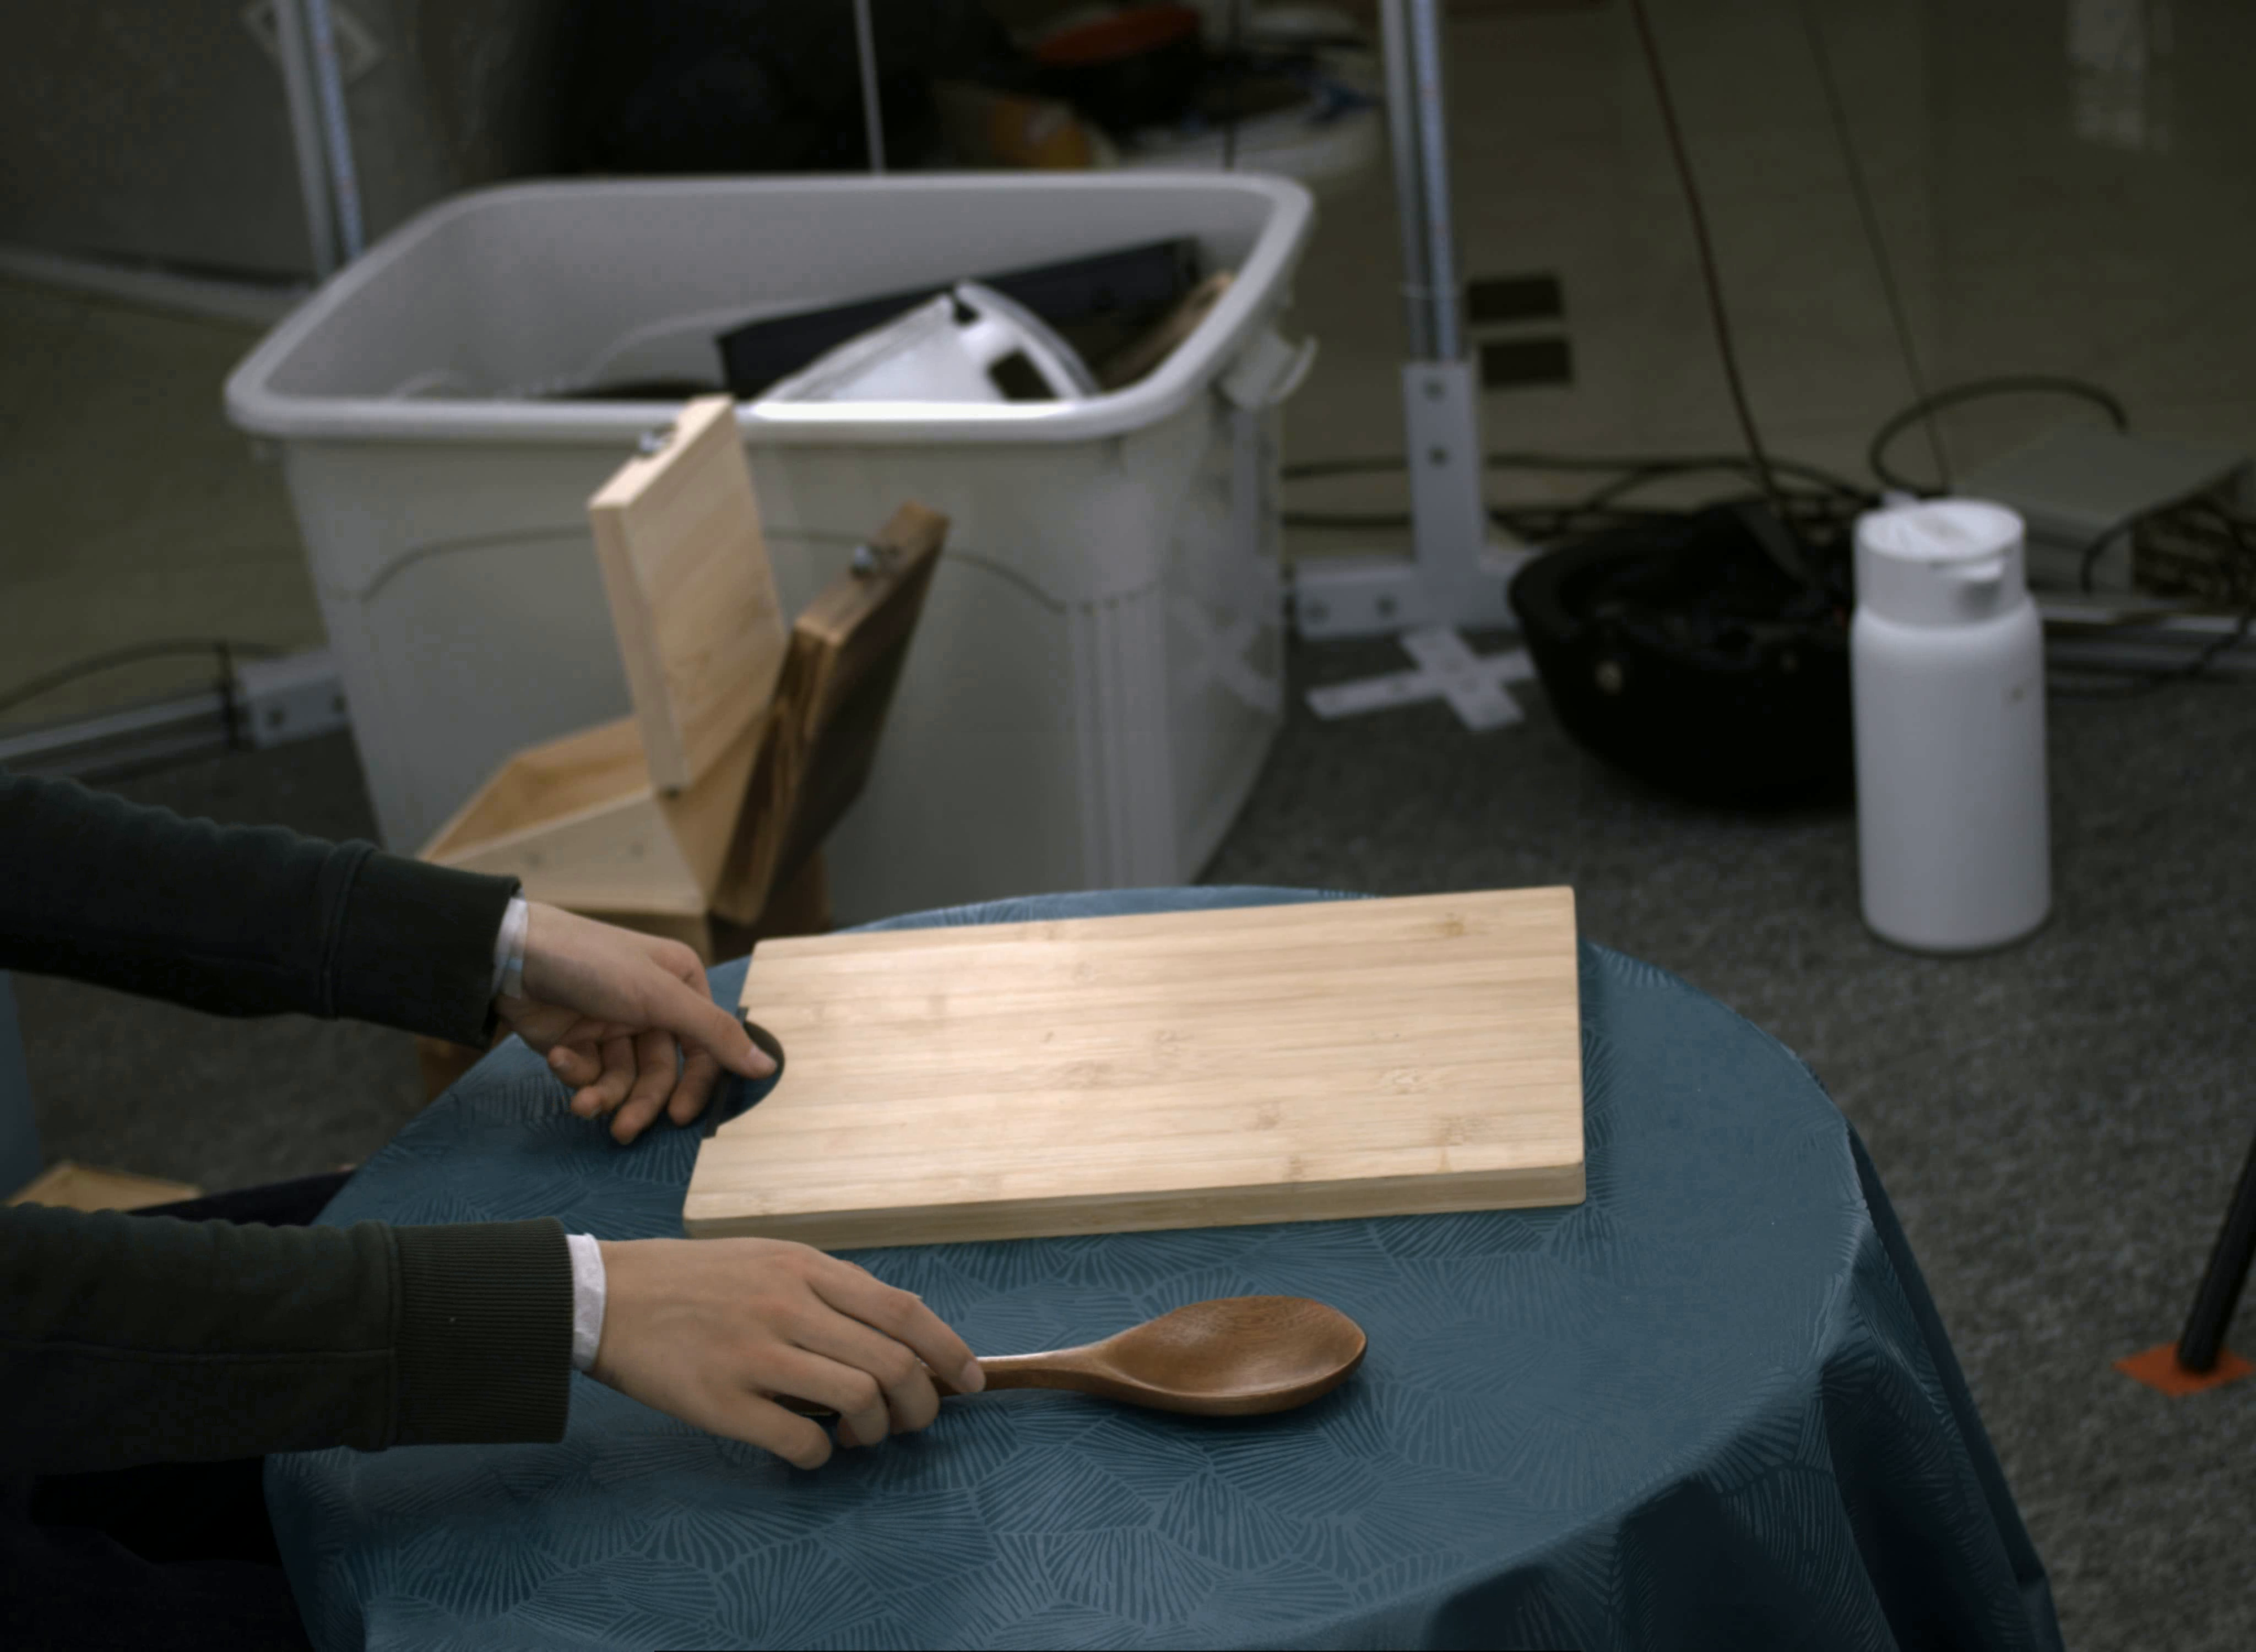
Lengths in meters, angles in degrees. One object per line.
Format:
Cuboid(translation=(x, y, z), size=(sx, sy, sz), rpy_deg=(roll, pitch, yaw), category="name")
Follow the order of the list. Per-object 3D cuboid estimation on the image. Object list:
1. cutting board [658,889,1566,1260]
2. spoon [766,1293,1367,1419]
Cuboid(translation=(0.001, 0.096, 2.227), size=(0.348, 0.024, 0.247), rpy_deg=(-4, 24, 5), category="cutting board")
Cuboid(translation=(-0.022, 0.194, 2.020), size=(0.215, 0.017, 0.074), rpy_deg=(-3, 26, 6), category="spoon")
